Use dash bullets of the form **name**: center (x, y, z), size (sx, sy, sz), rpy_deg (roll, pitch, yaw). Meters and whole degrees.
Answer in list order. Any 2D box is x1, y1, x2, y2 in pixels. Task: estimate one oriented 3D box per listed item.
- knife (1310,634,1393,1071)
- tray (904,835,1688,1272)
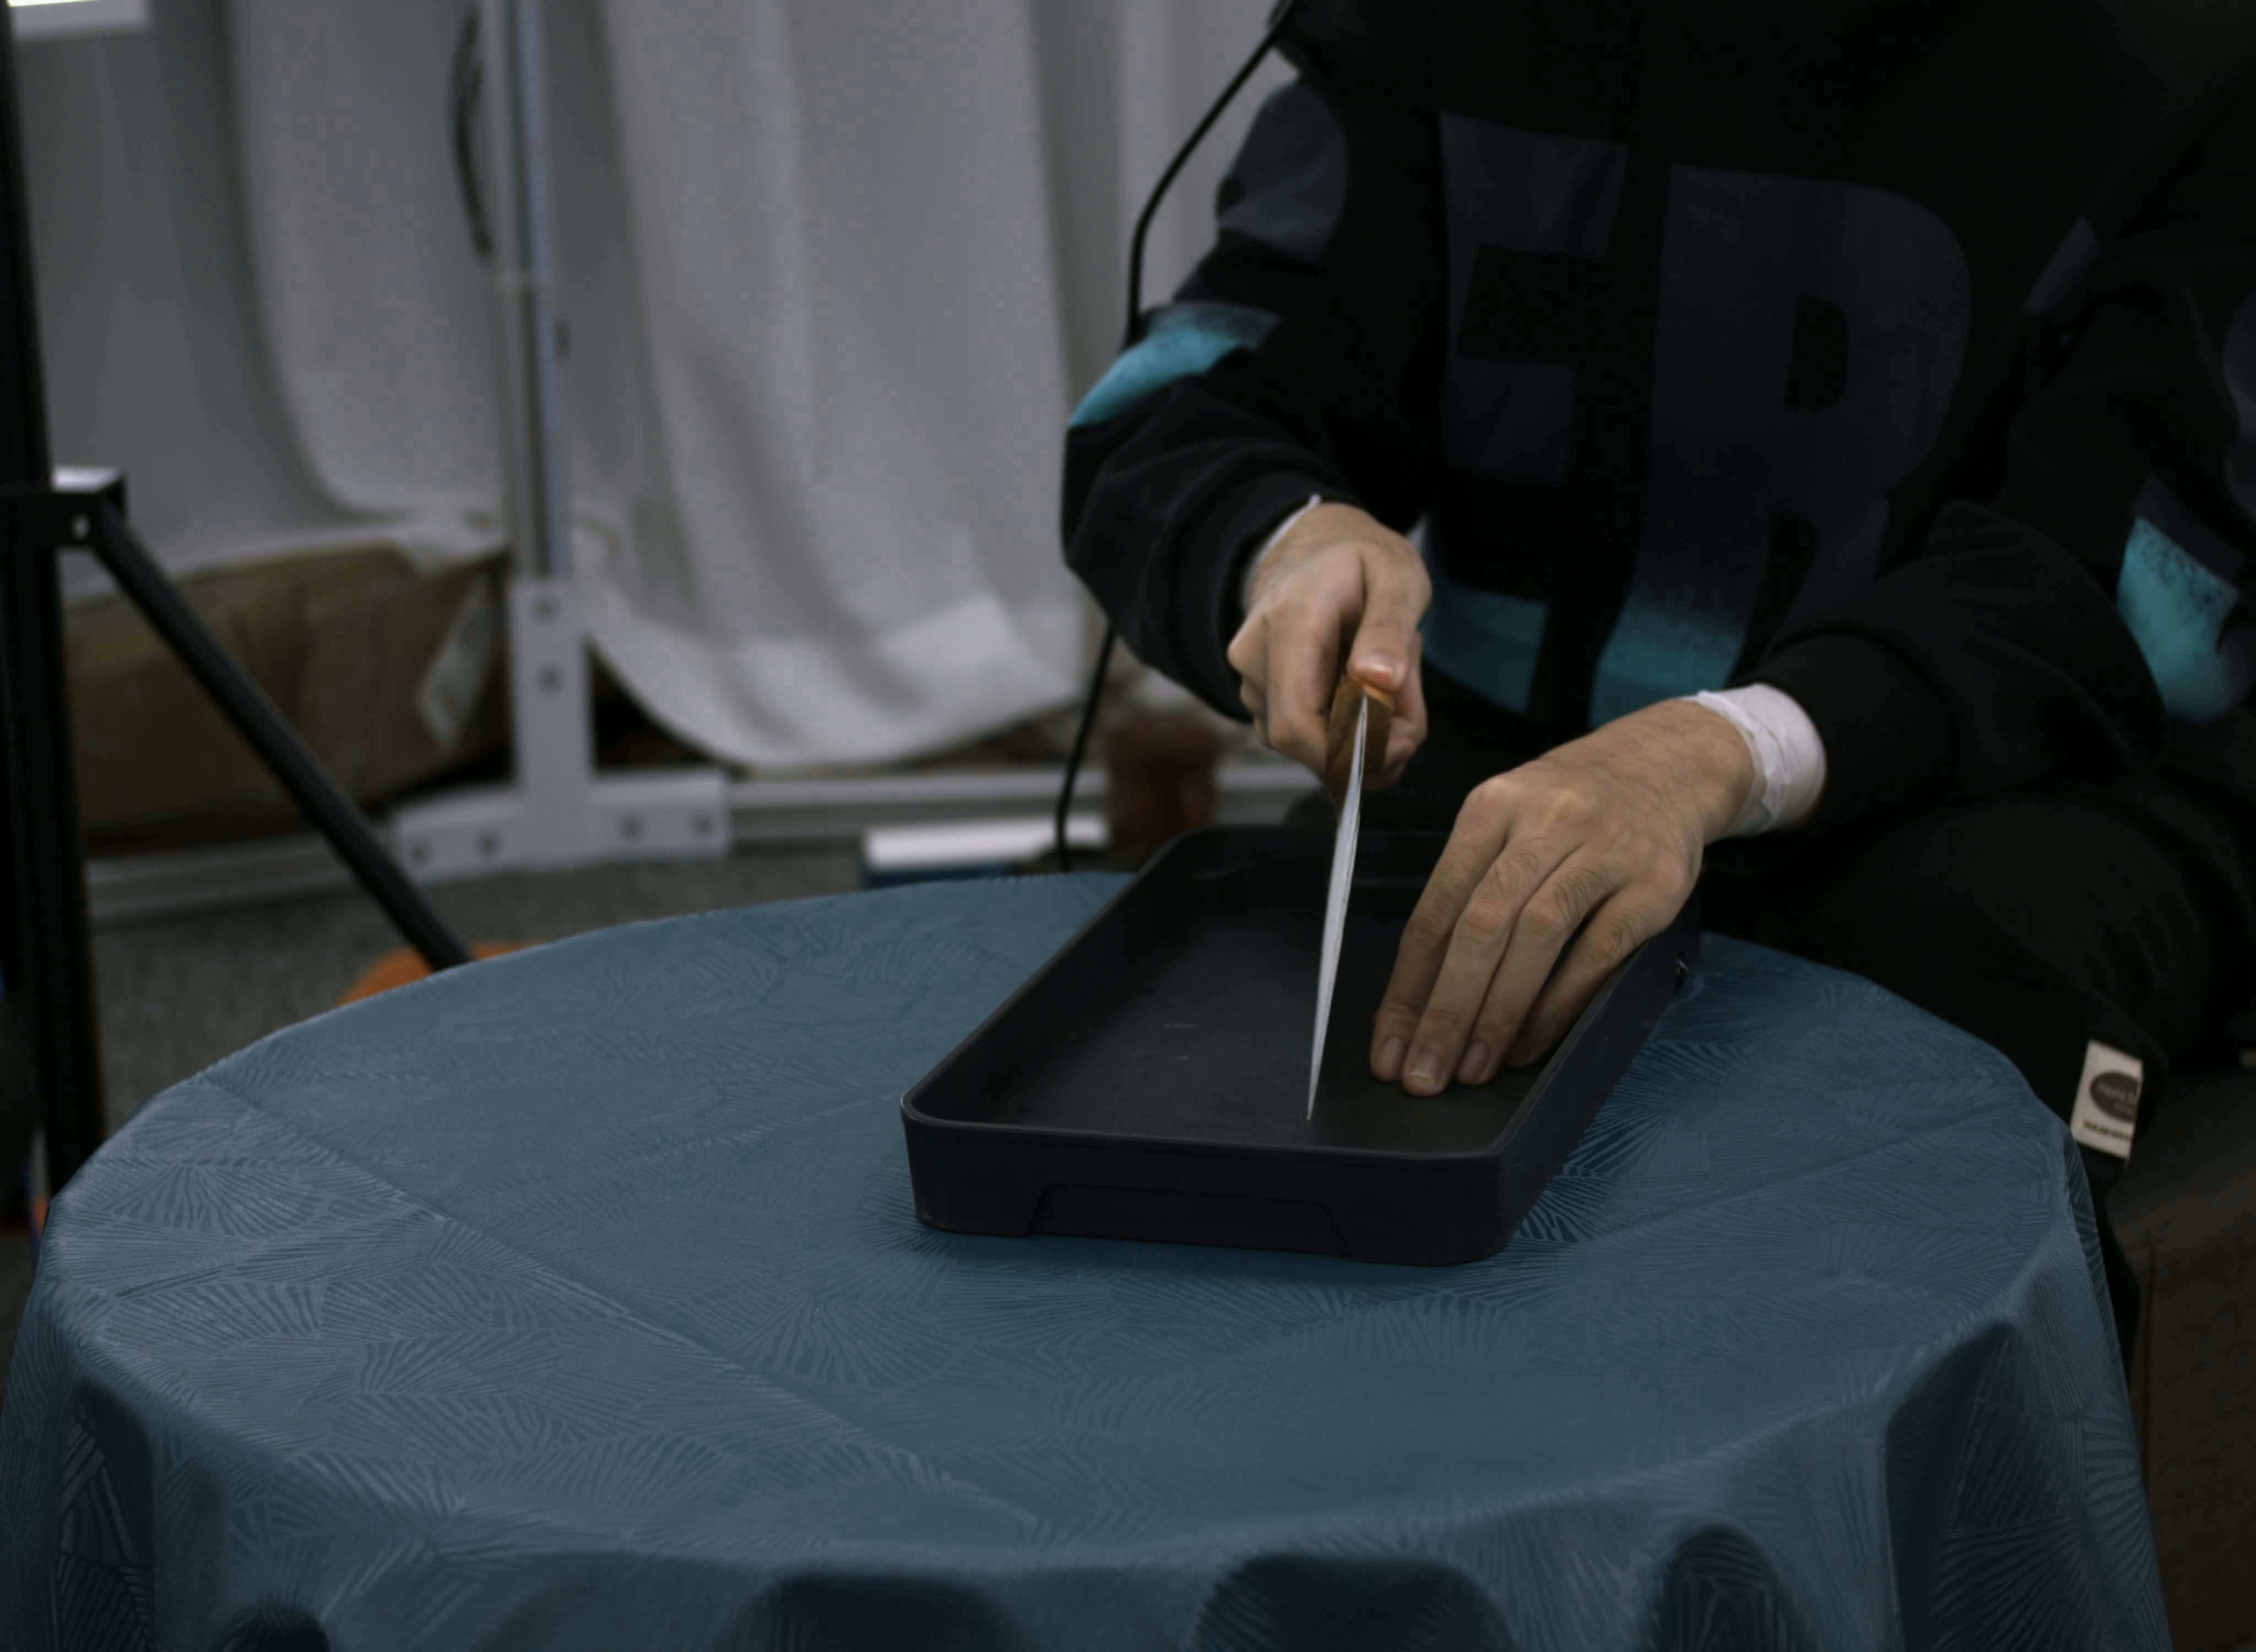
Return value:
- **knife**: center (0.069, 0.008, 1.708), size (0.021, 0.093, 0.306), rpy_deg (9, 15, 1)
- **tray**: center (0.060, 0.064, 1.638), size (0.186, 0.037, 0.315), rpy_deg (2, 16, 16)
